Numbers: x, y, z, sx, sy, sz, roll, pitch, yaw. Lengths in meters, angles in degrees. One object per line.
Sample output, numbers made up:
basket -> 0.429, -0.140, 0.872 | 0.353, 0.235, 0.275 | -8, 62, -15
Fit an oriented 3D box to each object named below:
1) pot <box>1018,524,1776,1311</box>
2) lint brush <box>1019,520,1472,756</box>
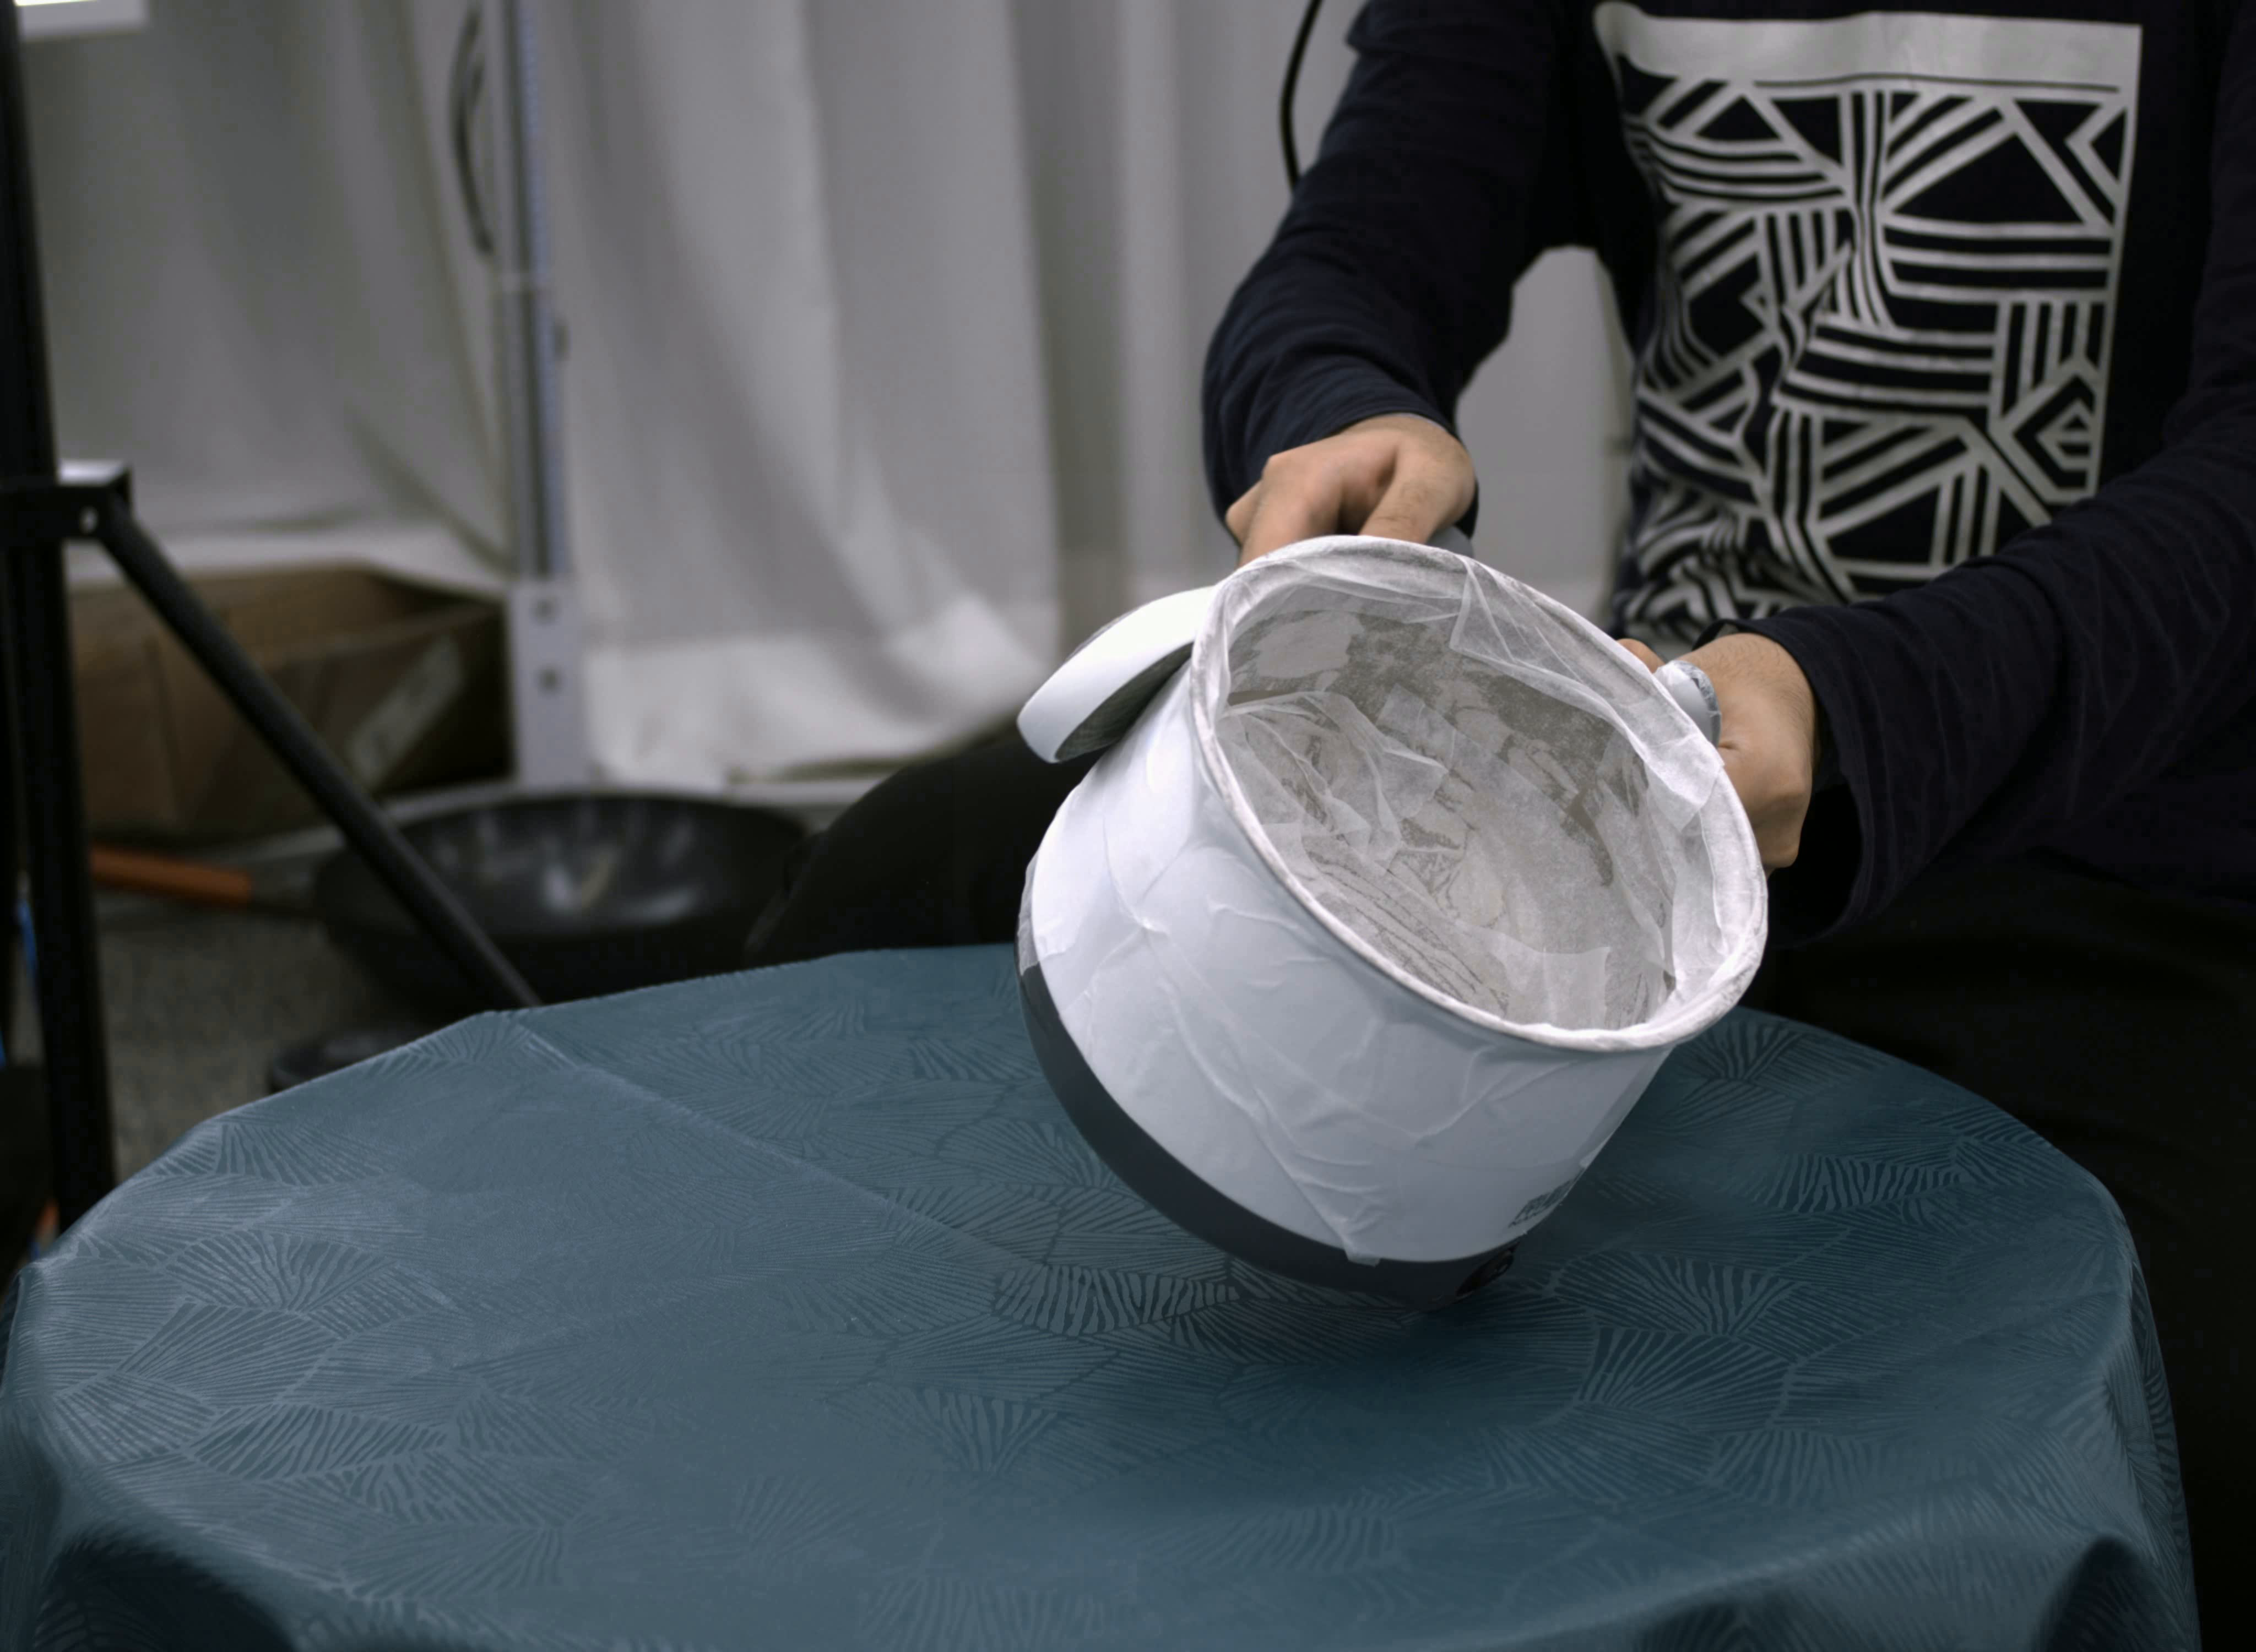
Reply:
pot -> 0.086, 0.018, 1.468 | 0.229, 0.138, 0.181 | -25, 70, -45
lint brush -> 0.043, -0.063, 1.560 | 0.021, 0.060, 0.304 | 47, 23, 9
